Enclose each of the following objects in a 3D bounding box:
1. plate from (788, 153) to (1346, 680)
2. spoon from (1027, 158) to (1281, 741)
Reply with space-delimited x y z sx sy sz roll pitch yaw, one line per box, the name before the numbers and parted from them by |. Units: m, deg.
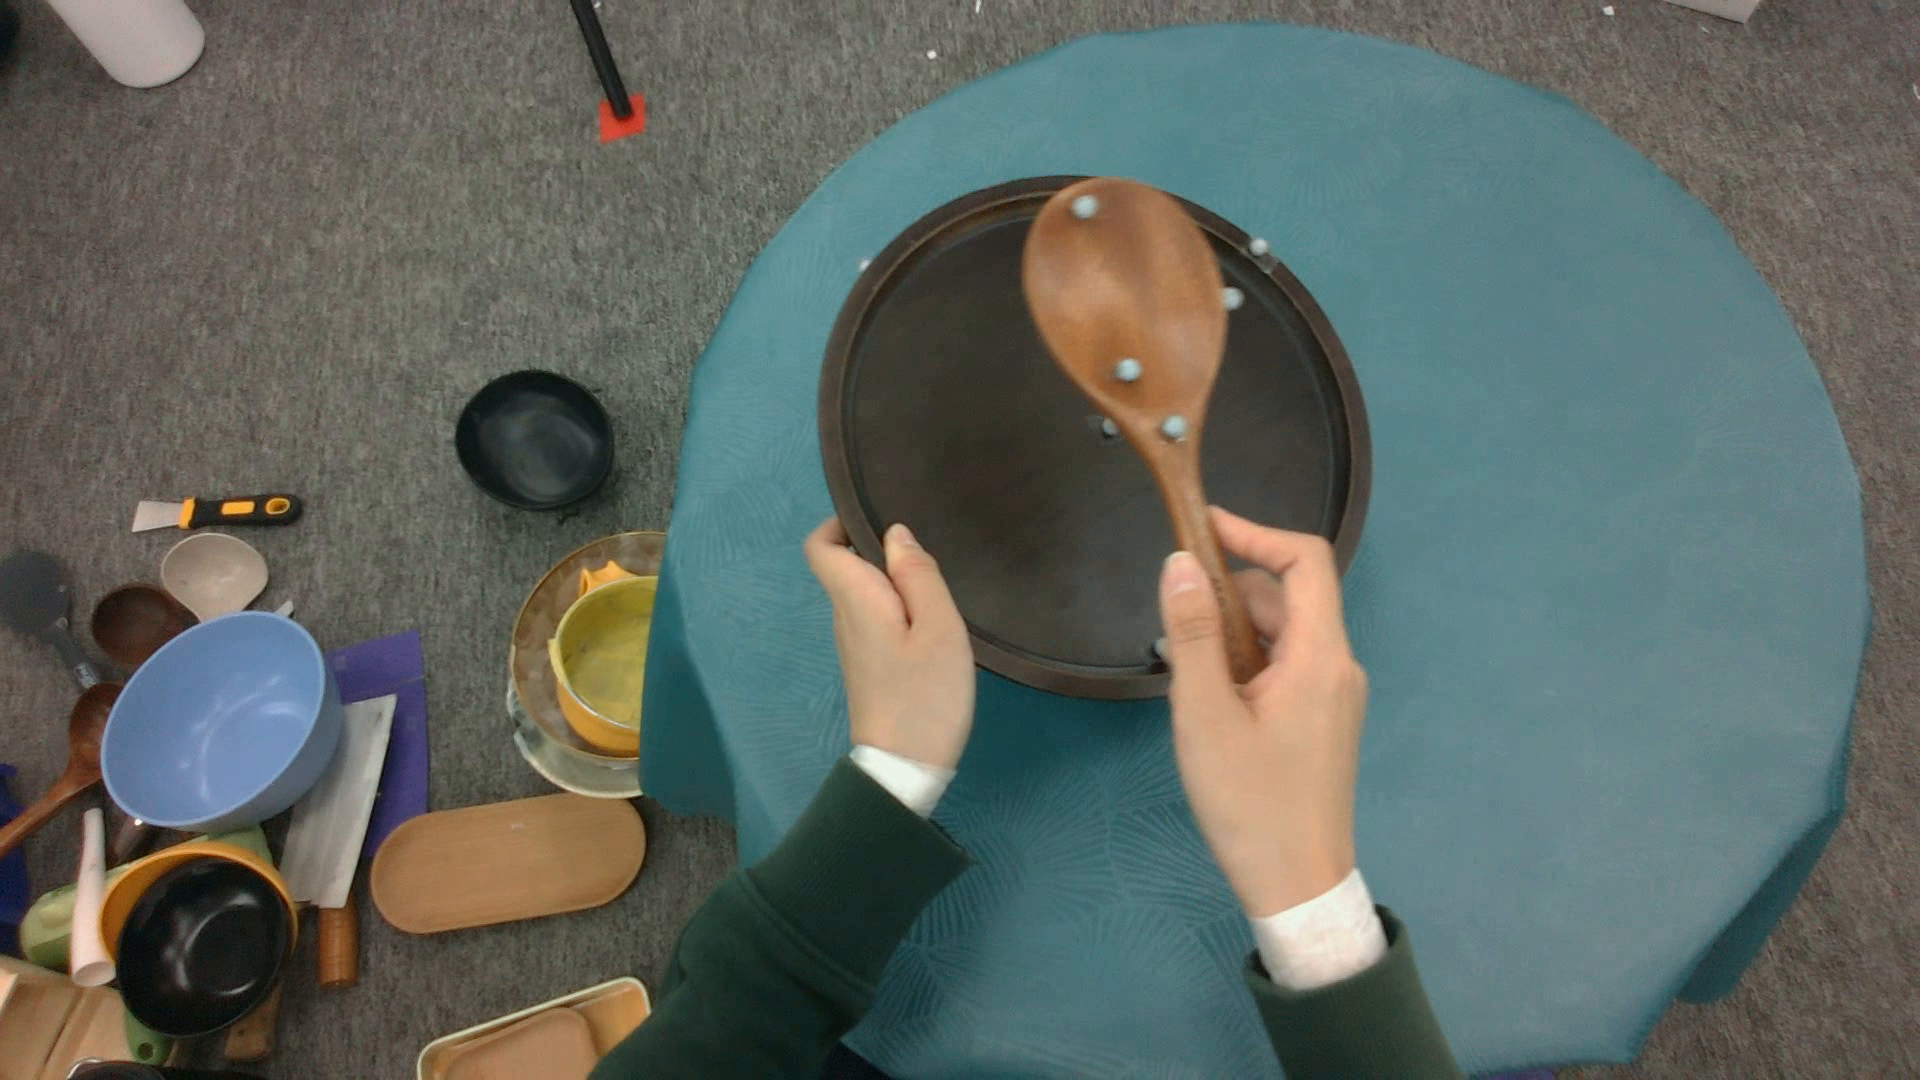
plate | 0.050 -0.060 0.614 0.255 0.029 0.255 4 69 -10
spoon | 0.075 -0.035 0.492 0.075 0.017 0.216 -11 80 -15
